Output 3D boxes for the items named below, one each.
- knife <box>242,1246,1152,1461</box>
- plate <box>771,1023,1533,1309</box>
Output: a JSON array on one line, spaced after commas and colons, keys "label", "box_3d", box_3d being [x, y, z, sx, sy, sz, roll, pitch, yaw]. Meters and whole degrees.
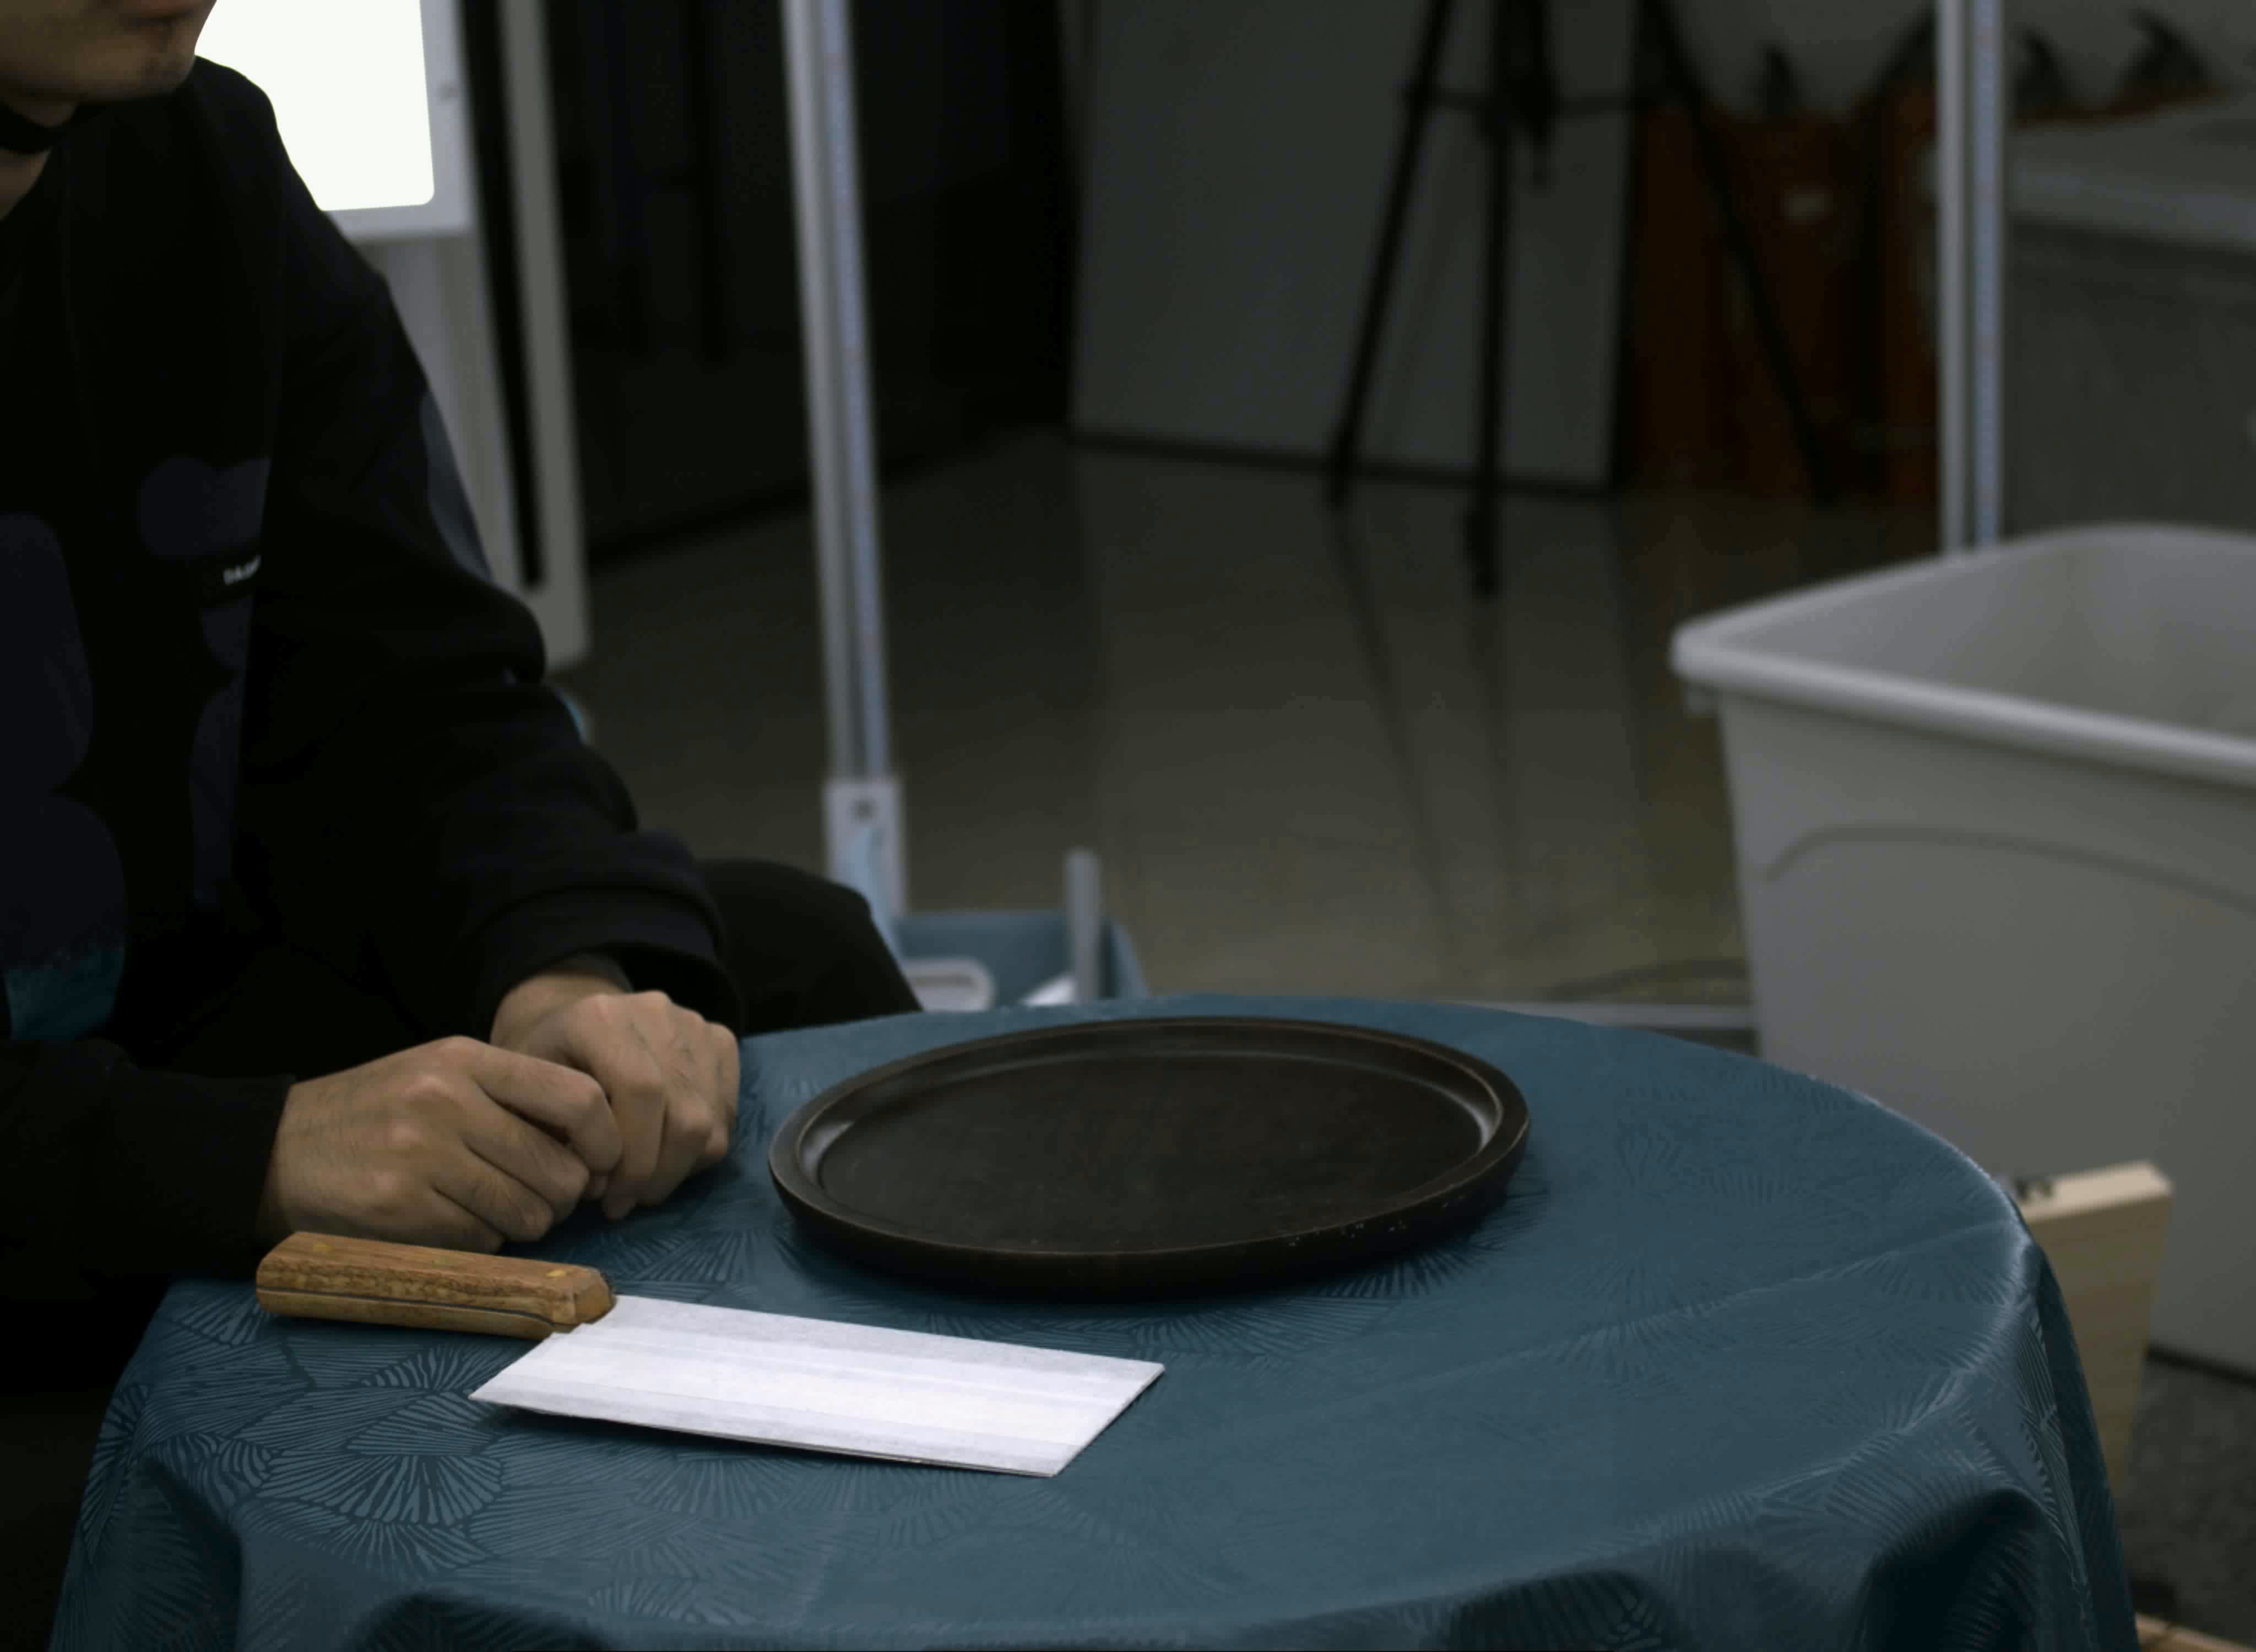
[{"label": "knife", "box_3d": [-0.143, 0.161, 1.621, 0.306, 0.021, 0.092, 4, 17, 23]}, {"label": "plate", "box_3d": [0.008, 0.108, 1.767, 0.251, 0.029, 0.255, -4, 16, 0]}]
